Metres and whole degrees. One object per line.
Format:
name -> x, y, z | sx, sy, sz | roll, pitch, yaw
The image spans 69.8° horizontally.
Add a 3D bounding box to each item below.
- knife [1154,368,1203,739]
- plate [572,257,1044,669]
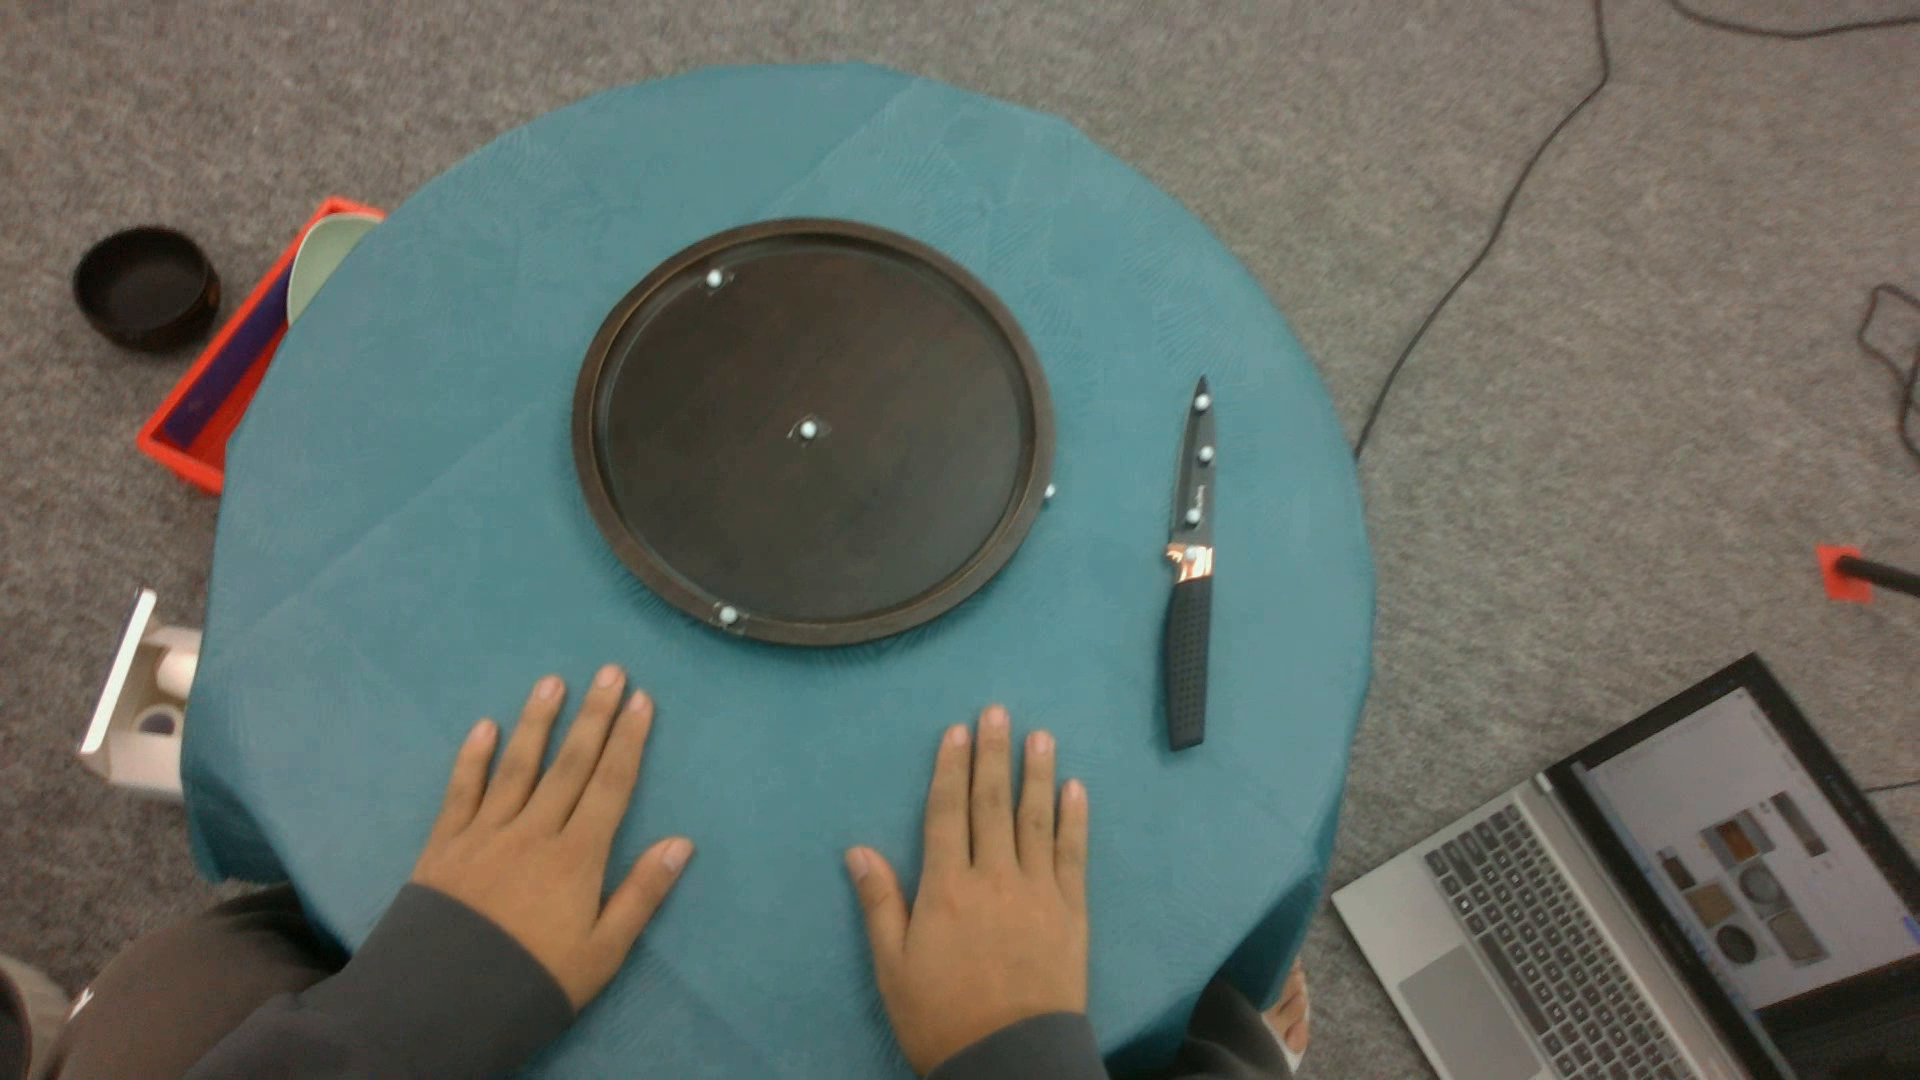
knife -> 0.120, 0.001, 0.756 | 0.026, 0.017, 0.226 | 3, 63, 2
plate -> -0.081, -0.047, 0.752 | 0.255, 0.029, 0.255 | 3, 65, -6
